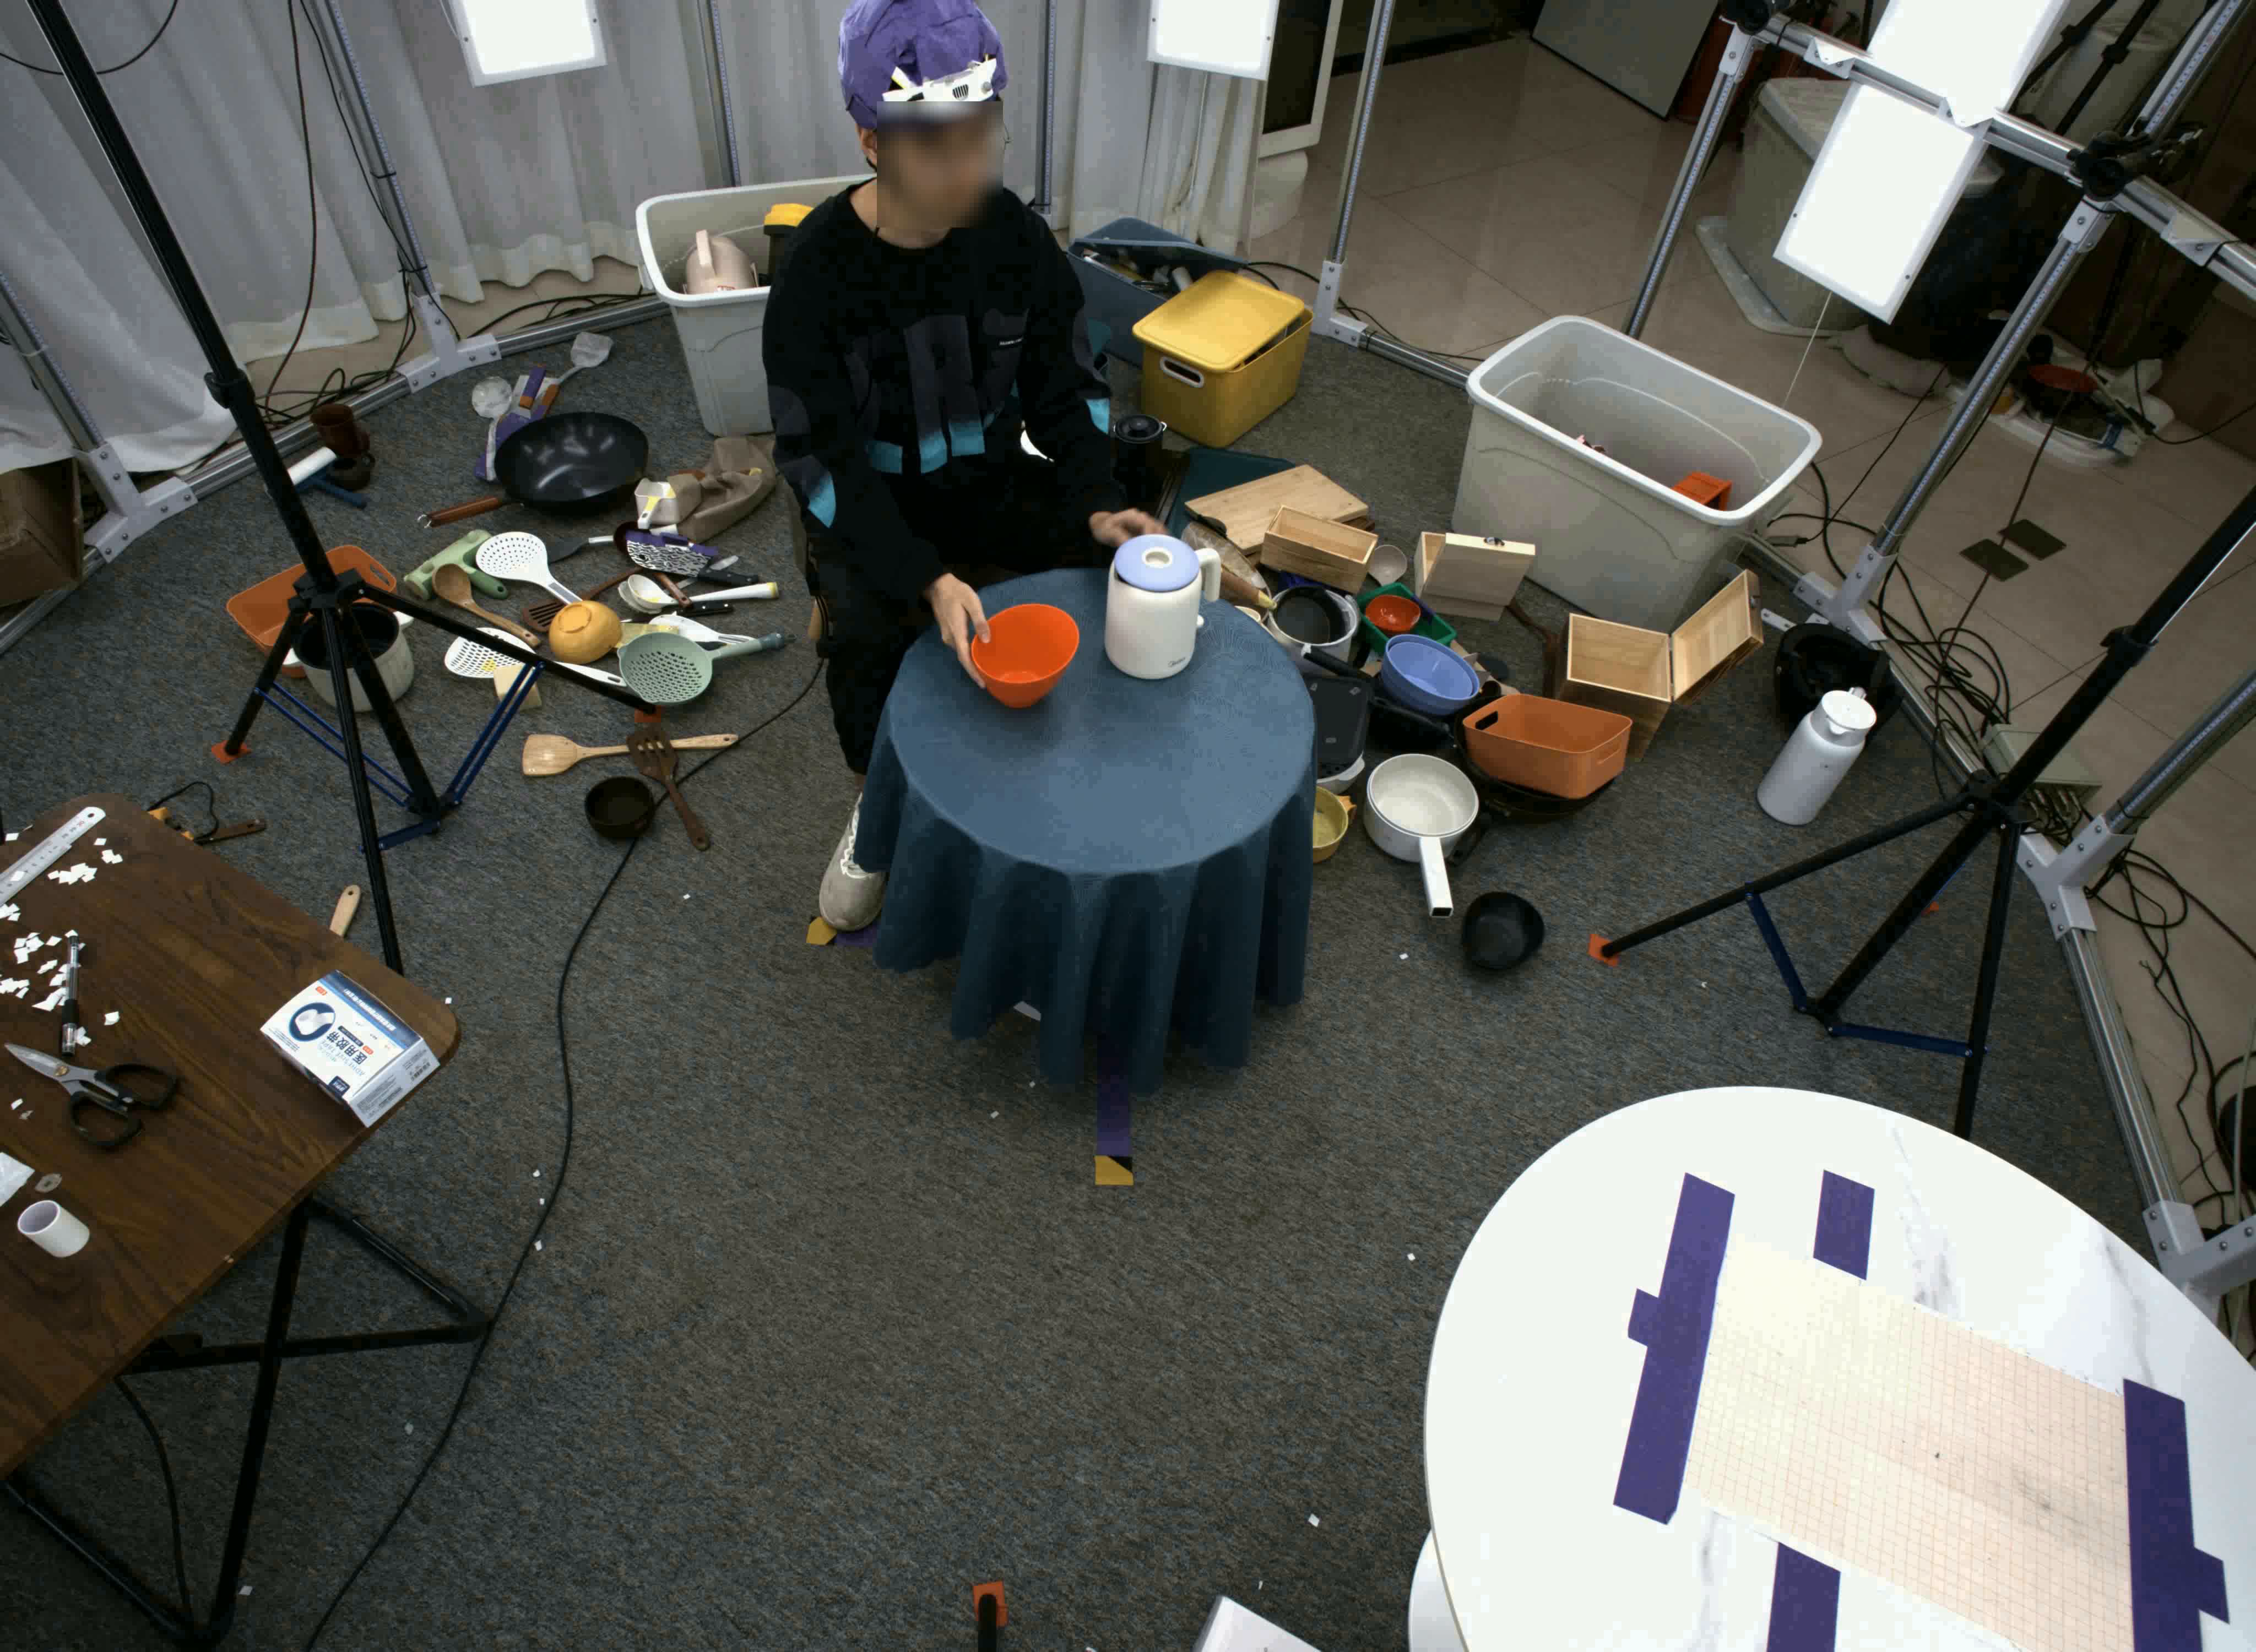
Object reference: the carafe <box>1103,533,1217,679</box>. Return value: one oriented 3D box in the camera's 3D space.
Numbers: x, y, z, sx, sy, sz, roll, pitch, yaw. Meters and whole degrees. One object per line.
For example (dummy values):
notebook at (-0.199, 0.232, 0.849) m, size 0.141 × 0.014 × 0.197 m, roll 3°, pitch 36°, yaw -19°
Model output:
carafe at (0.054, -0.323, 1.842) m, size 0.192 × 0.178 × 0.134 m, roll -27°, pitch 57°, yaw -27°

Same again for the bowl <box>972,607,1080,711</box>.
bowl at (-0.141, -0.222, 1.787) m, size 0.148 × 0.102 × 0.152 m, roll 1°, pitch 49°, yaw -2°
